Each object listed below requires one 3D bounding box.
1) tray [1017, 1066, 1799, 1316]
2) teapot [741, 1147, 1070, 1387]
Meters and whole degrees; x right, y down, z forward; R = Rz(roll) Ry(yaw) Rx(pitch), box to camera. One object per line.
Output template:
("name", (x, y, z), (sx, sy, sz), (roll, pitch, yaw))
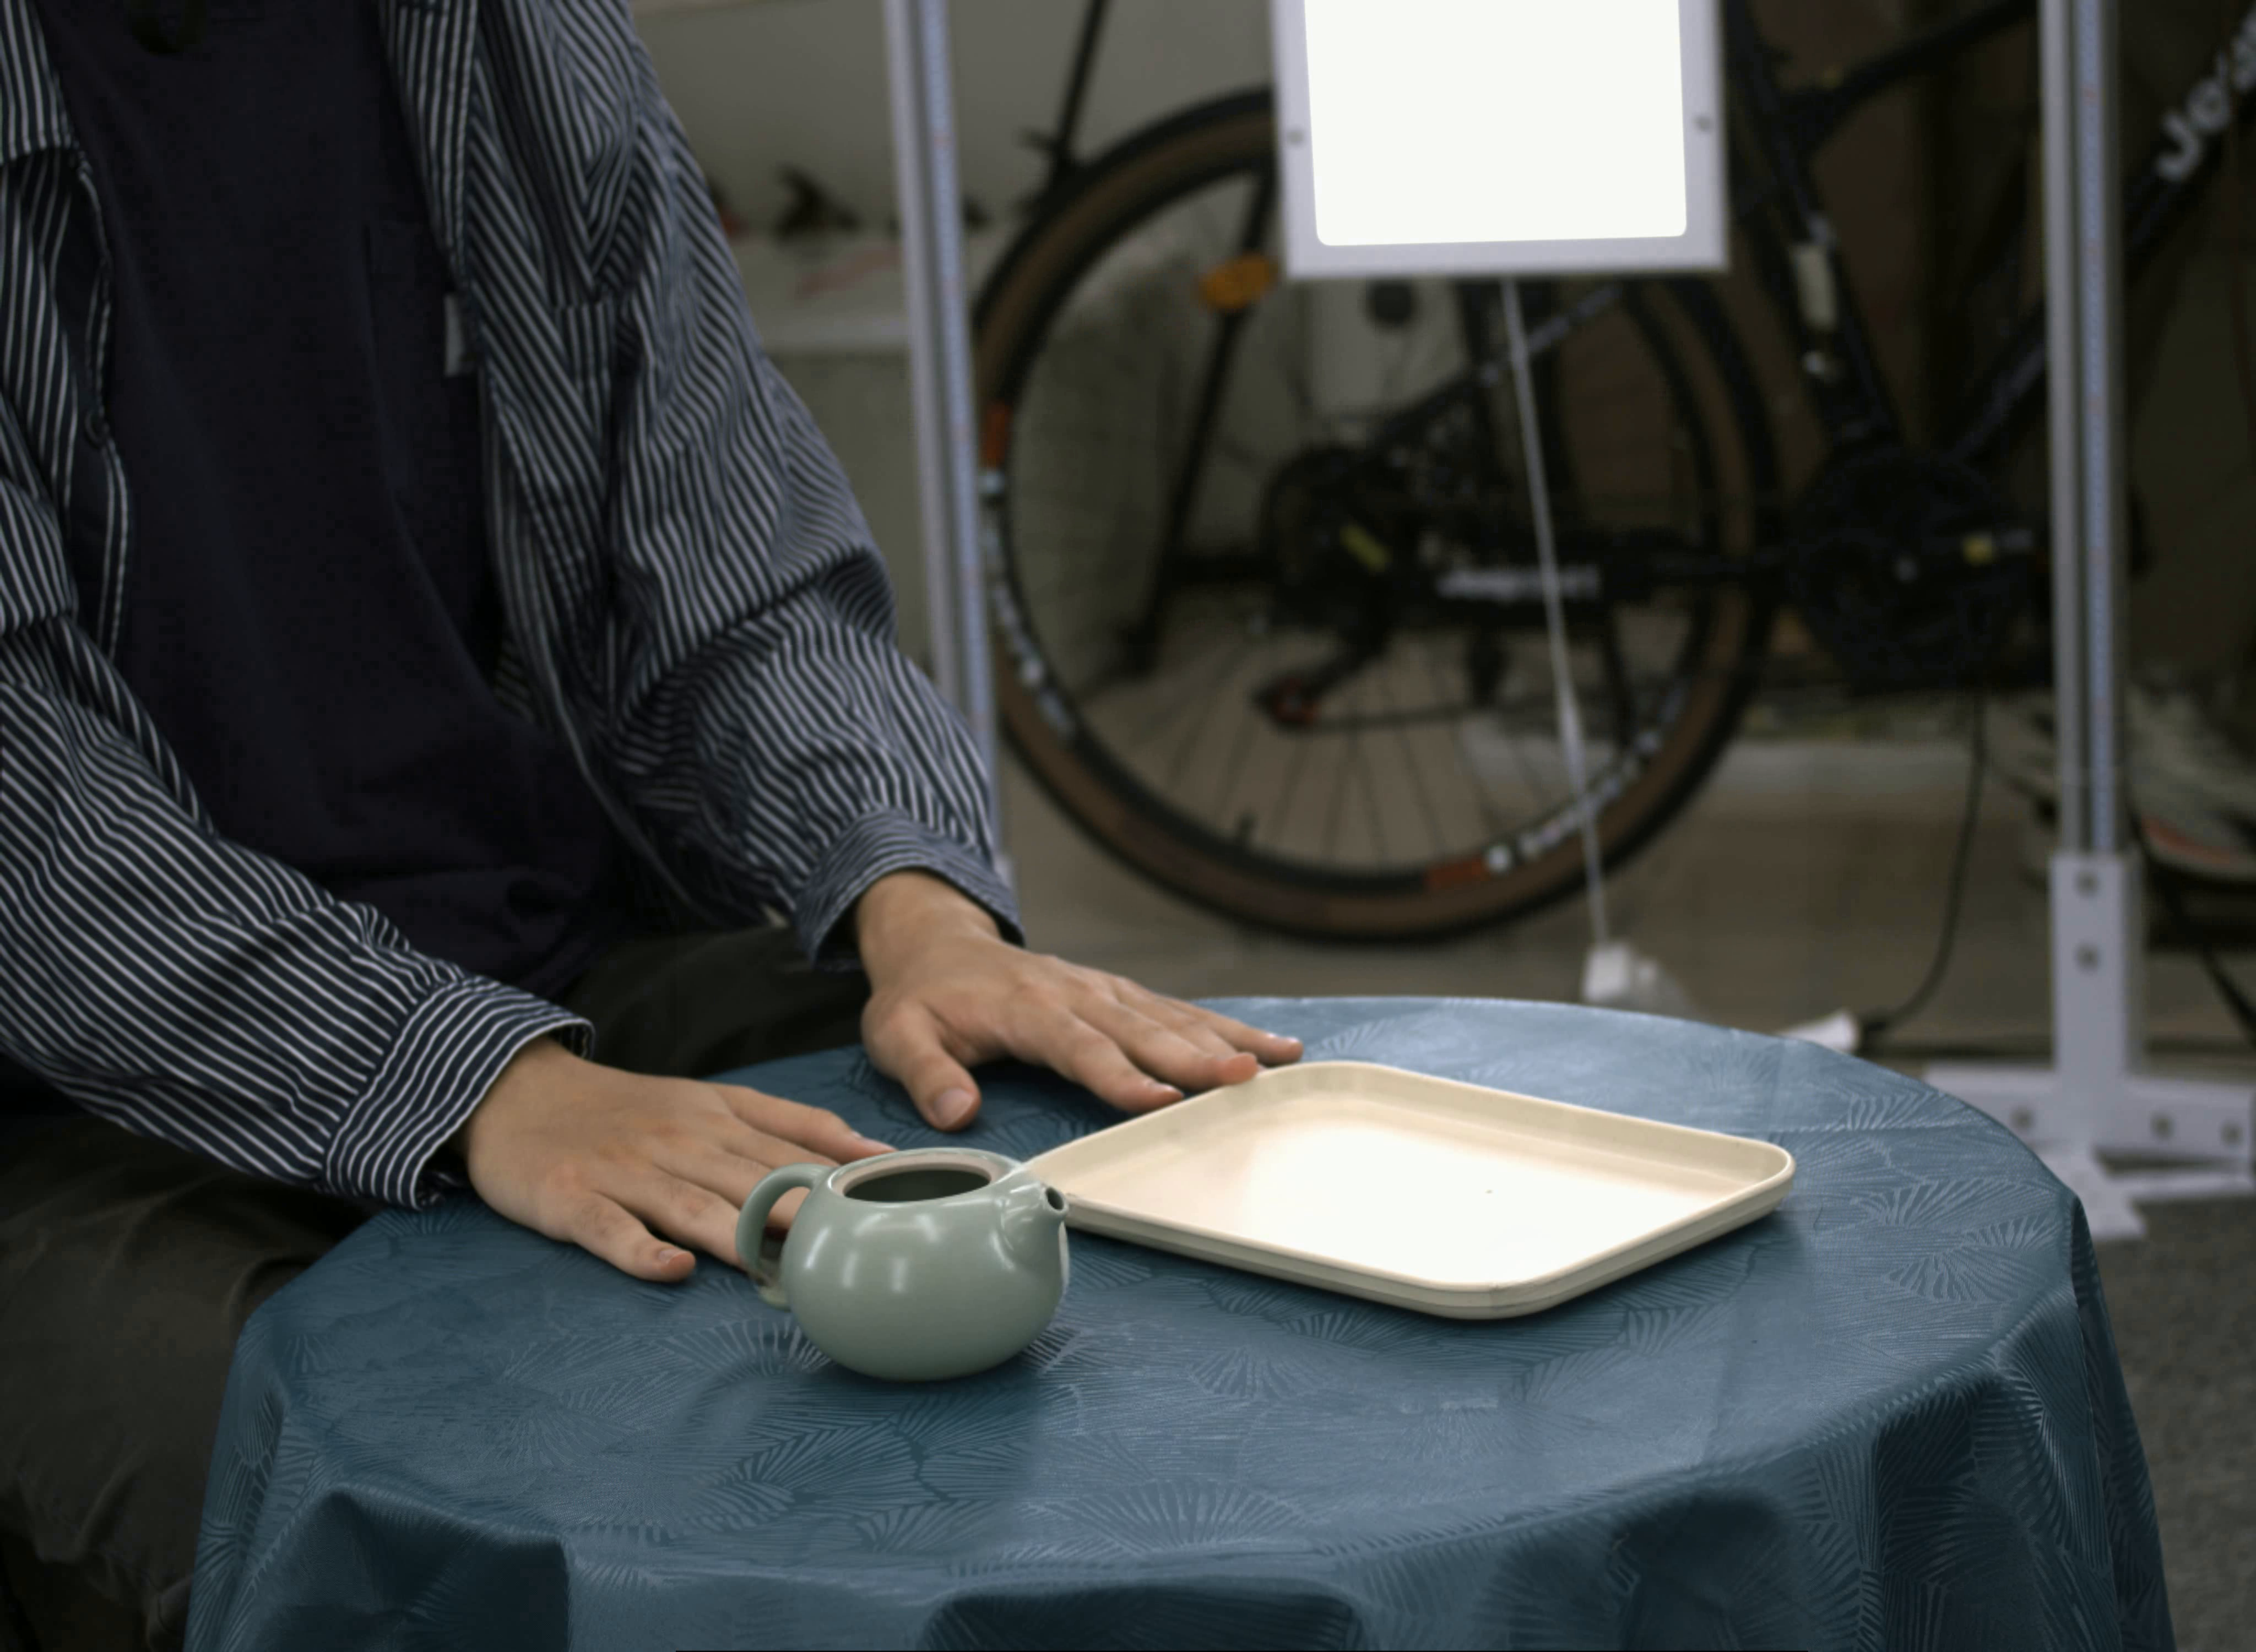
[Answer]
("tray", (0.093, 0.121, 1.843), (0.167, 0.017, 0.245), (-16, 17, -41))
("teapot", (-0.072, 0.139, 1.746), (0.131, 0.061, 0.089), (5, 19, 37))
